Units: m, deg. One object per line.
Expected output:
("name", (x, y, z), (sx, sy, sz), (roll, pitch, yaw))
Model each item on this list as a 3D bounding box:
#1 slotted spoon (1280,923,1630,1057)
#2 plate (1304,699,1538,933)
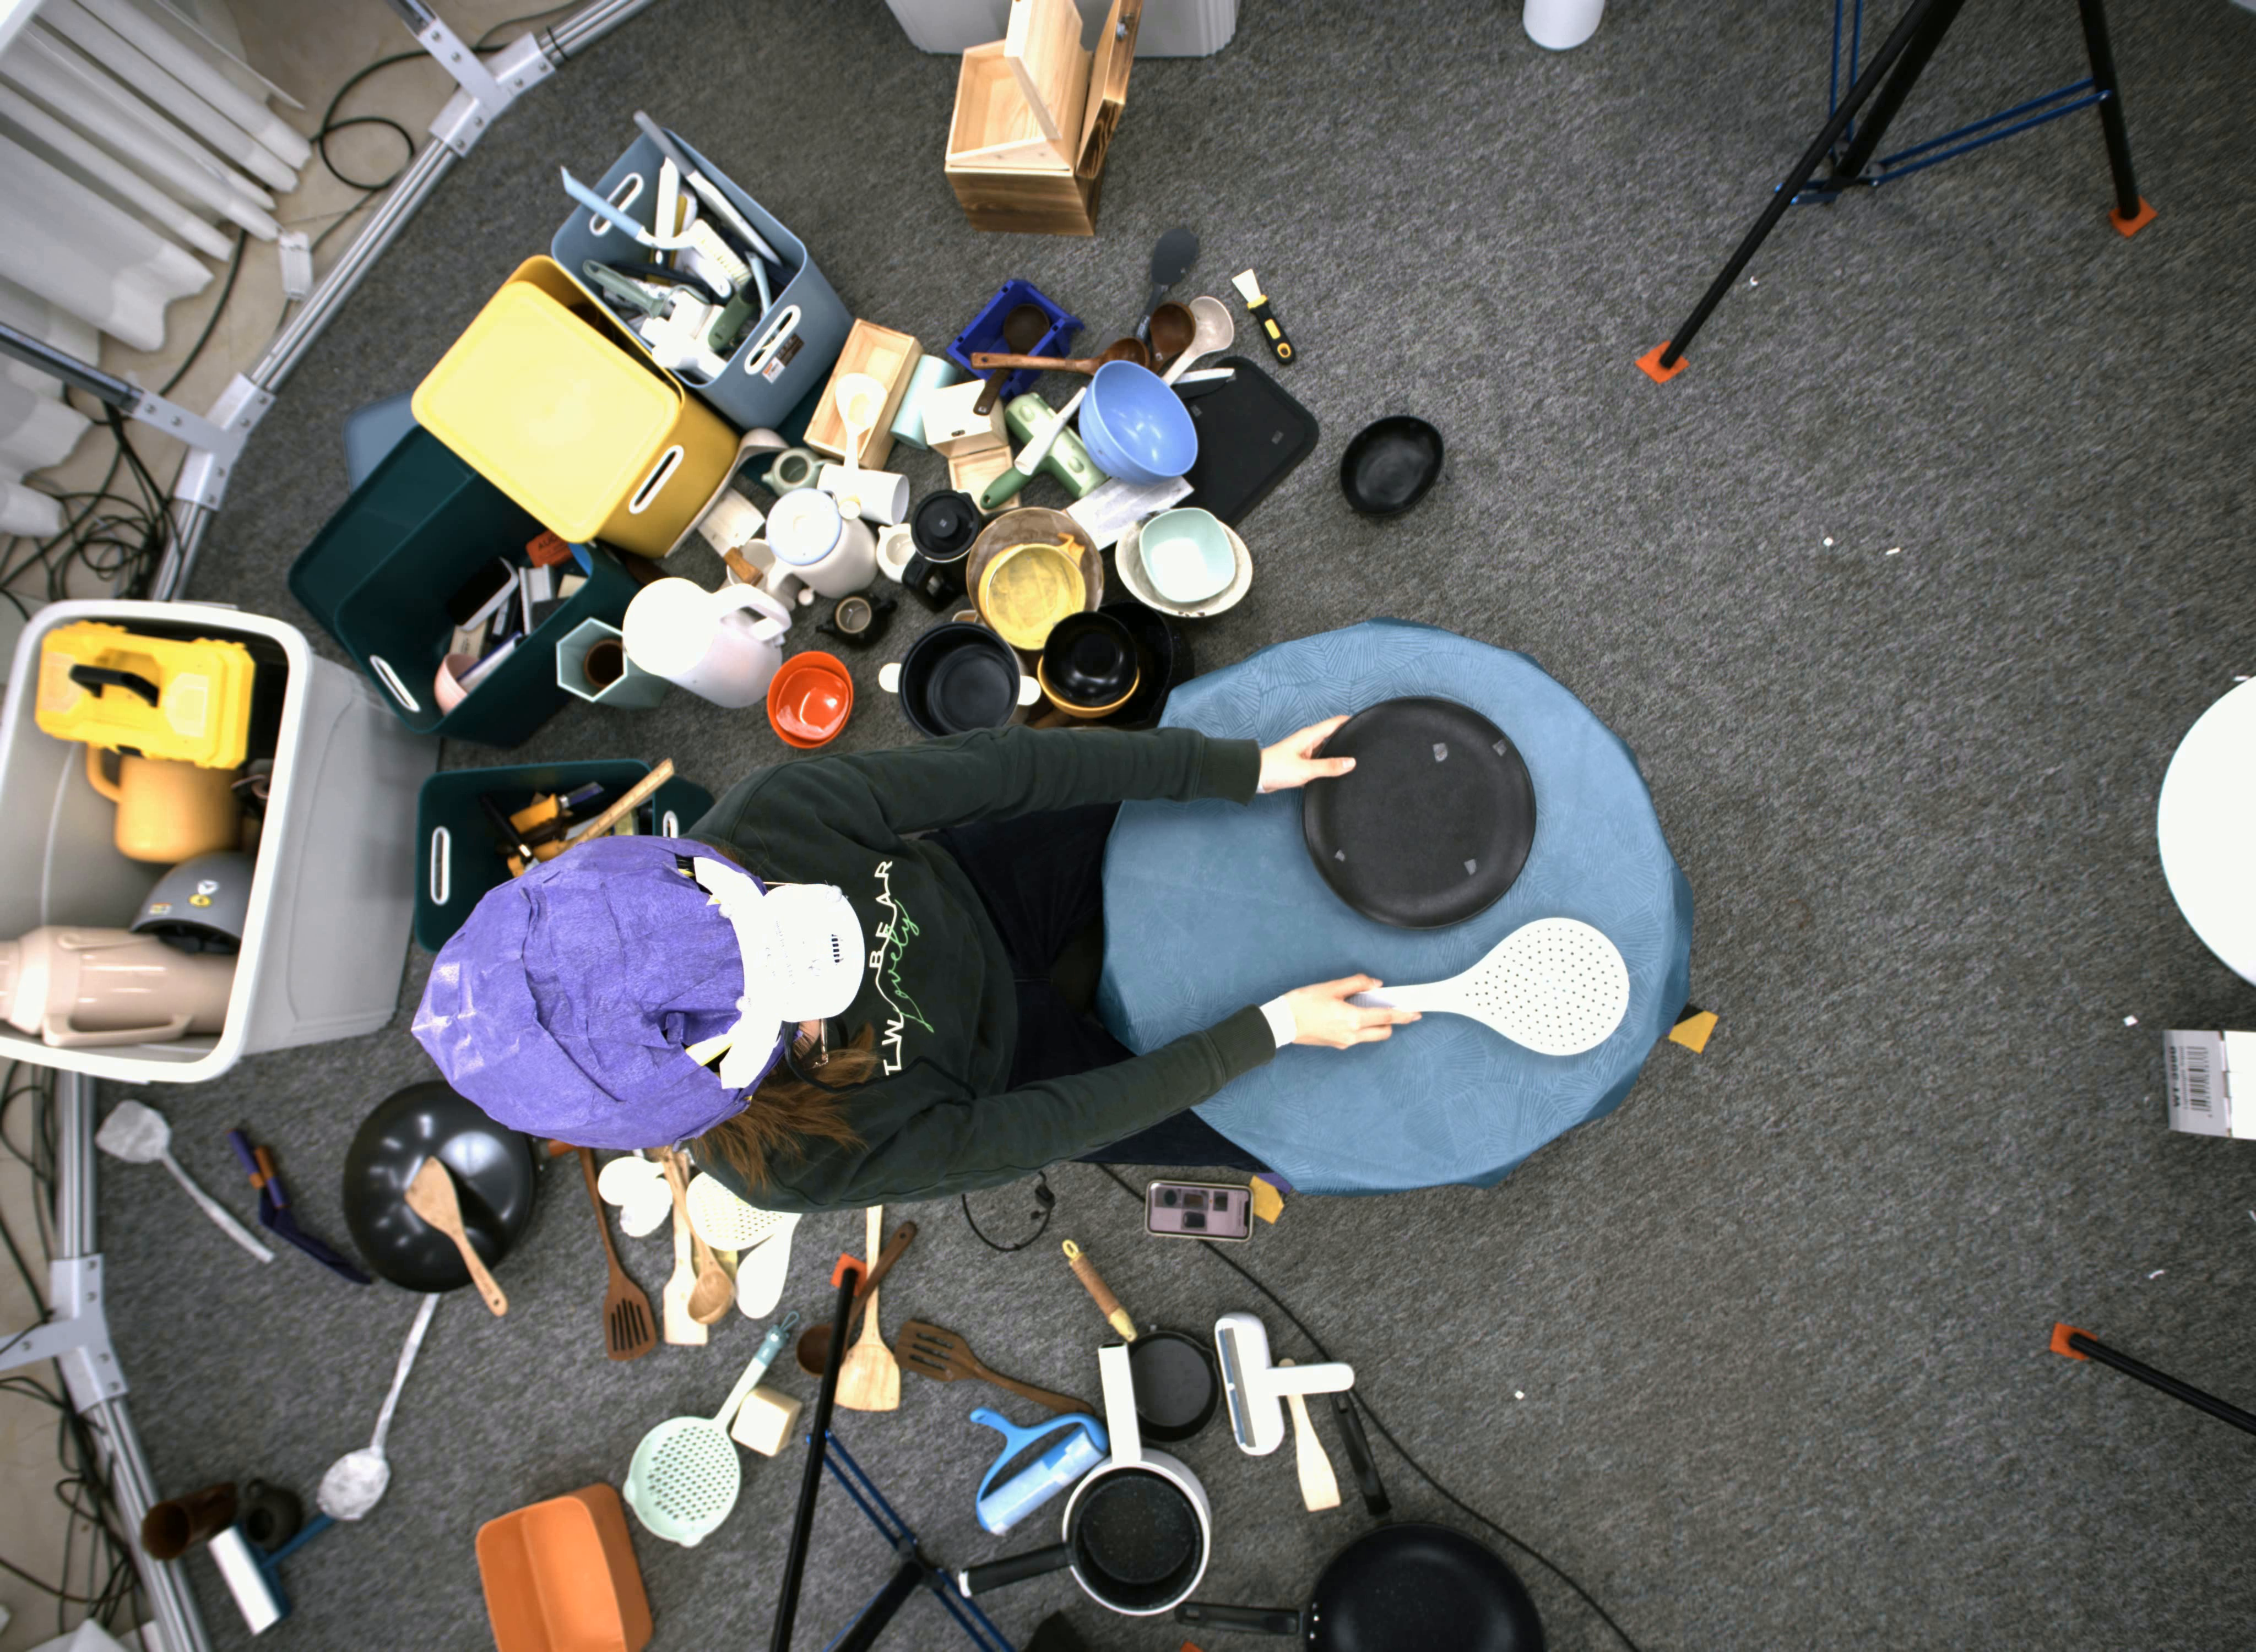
("slotted spoon", (0.331, 0.175, 1.416), (0.351, 0.046, 0.134), (-5, 80, 7))
("plate", (0.305, -0.012, 1.436), (0.245, 0.023, 0.244), (0, 92, 1))
